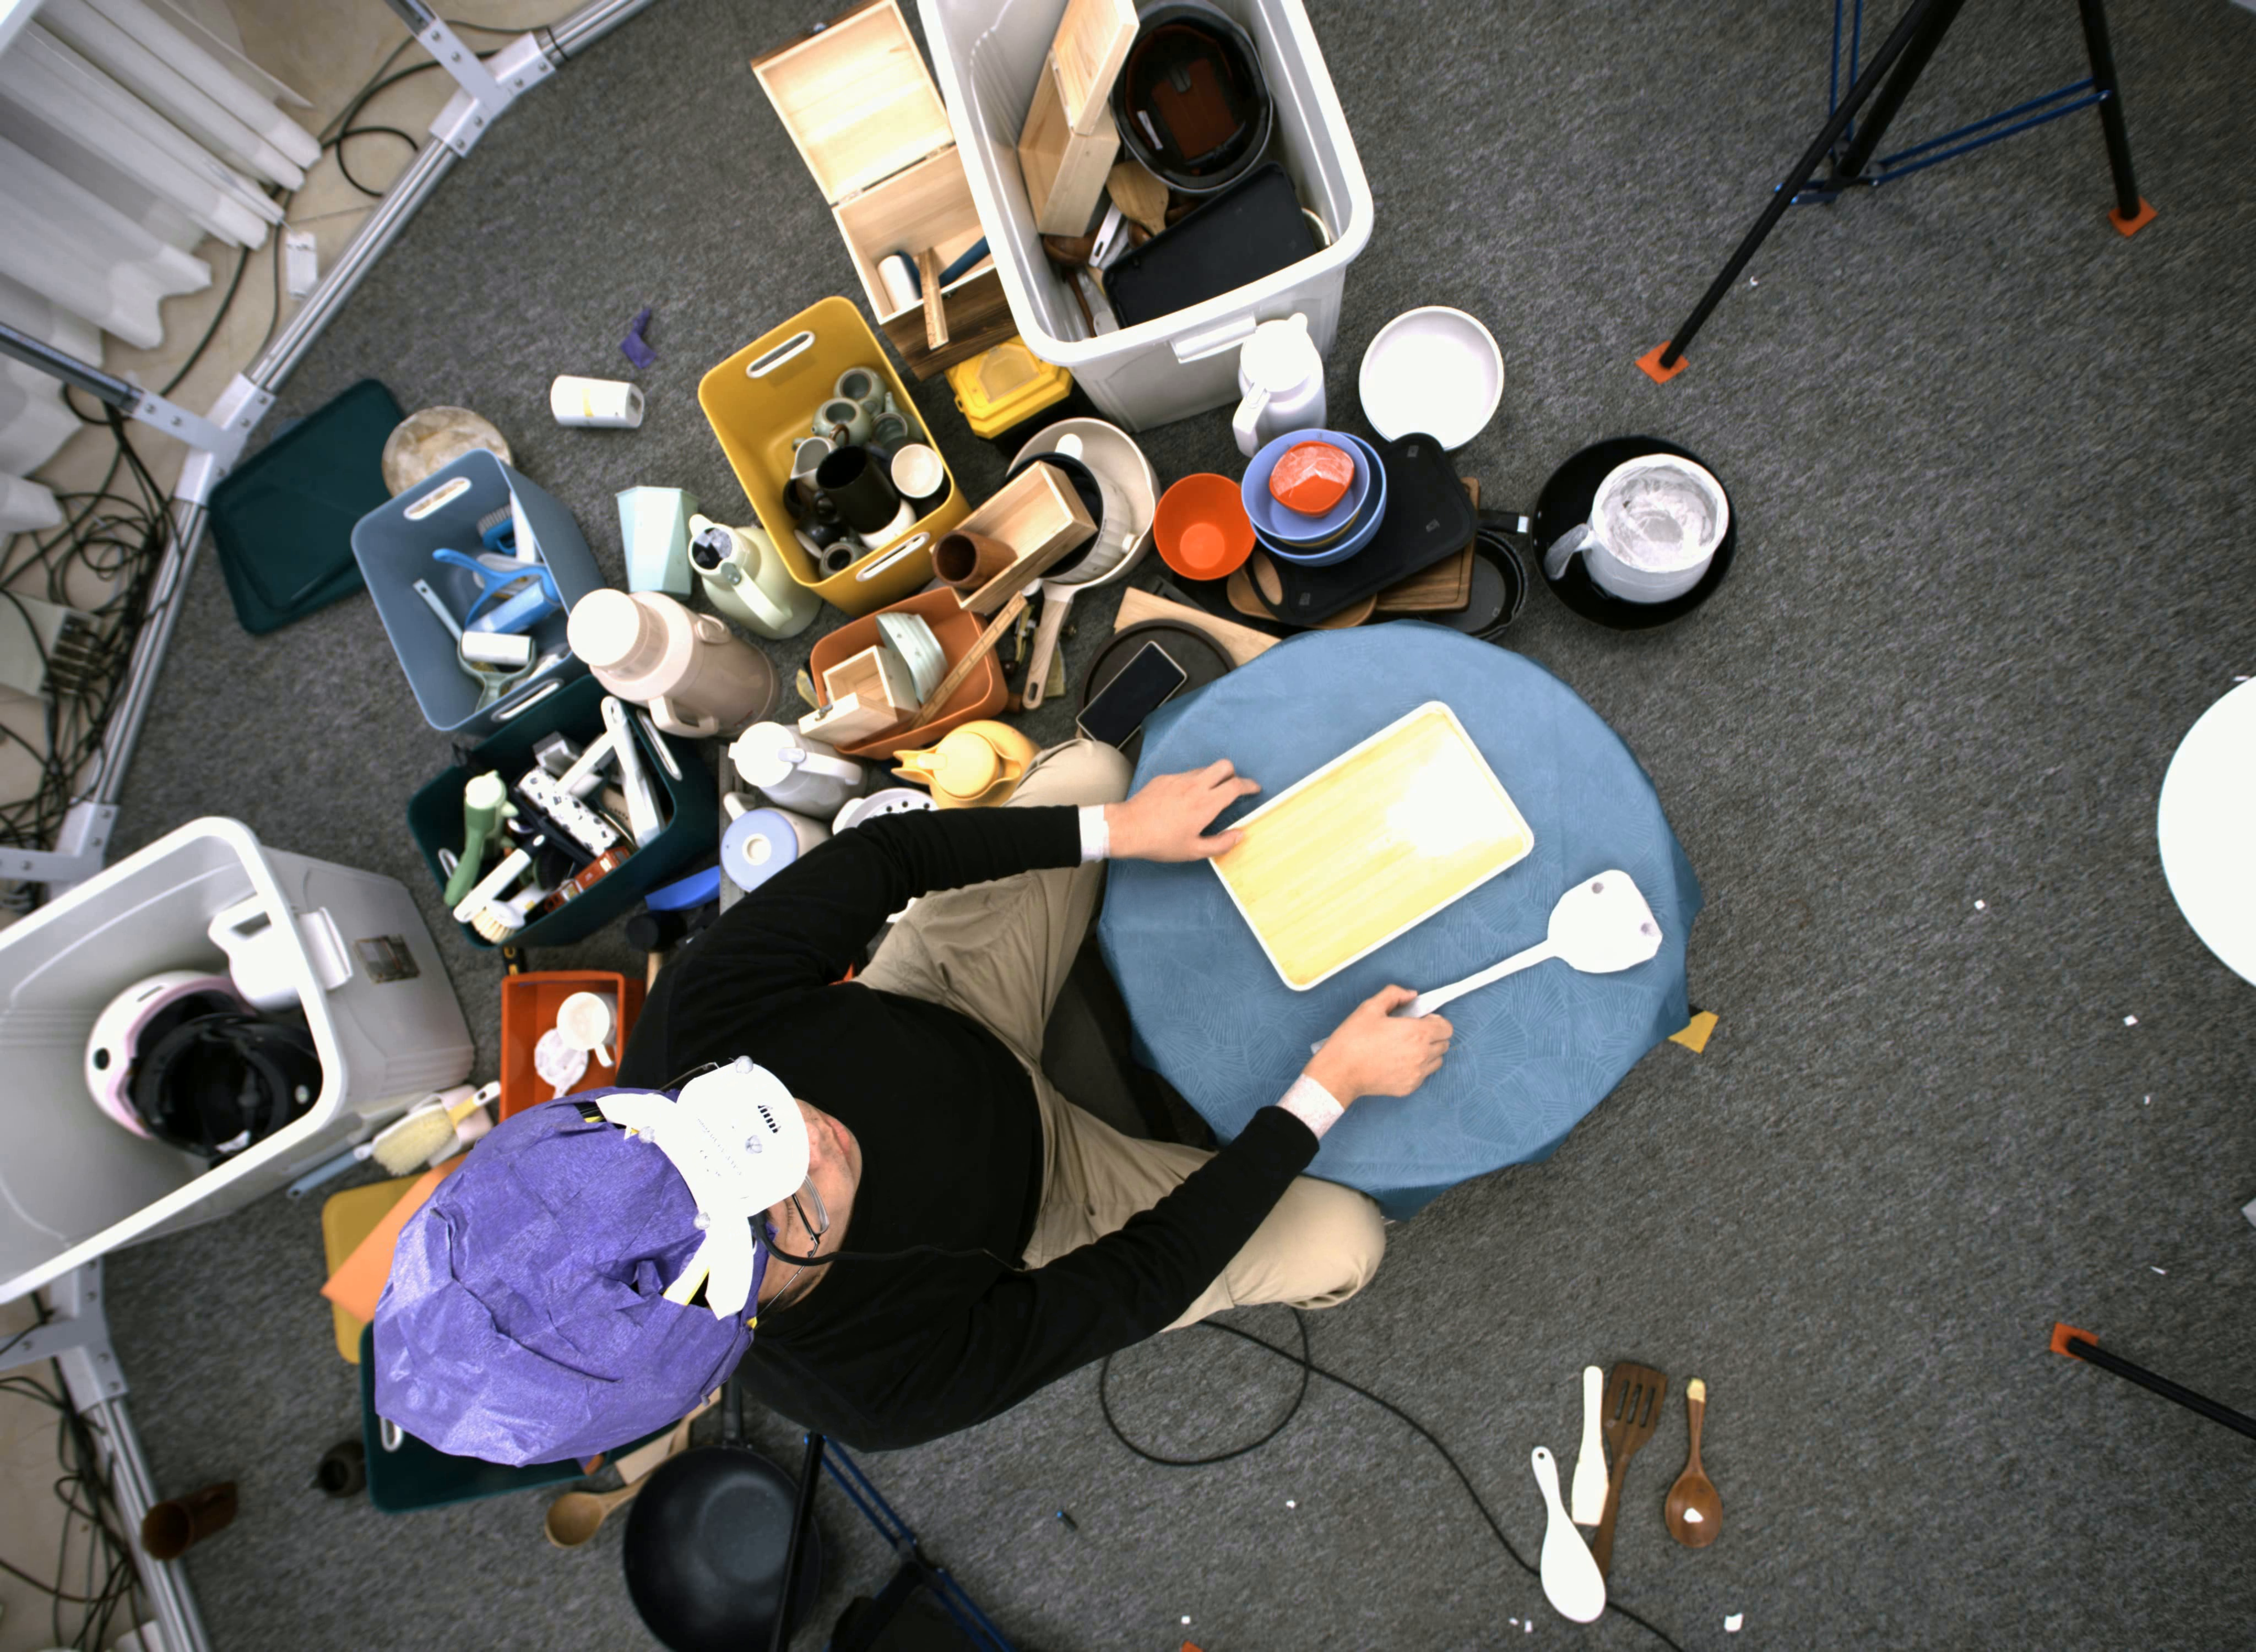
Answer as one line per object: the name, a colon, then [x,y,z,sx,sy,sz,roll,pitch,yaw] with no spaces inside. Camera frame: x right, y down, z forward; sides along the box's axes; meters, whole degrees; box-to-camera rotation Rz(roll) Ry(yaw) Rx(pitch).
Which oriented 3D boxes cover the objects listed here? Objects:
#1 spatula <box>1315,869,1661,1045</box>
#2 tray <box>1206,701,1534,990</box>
spatula: [0.363,0.153,1.418,0.367,0.045,0.098,-25,85,8]
tray: [0.252,0.020,1.453,0.302,0.027,0.190,-32,82,7]
